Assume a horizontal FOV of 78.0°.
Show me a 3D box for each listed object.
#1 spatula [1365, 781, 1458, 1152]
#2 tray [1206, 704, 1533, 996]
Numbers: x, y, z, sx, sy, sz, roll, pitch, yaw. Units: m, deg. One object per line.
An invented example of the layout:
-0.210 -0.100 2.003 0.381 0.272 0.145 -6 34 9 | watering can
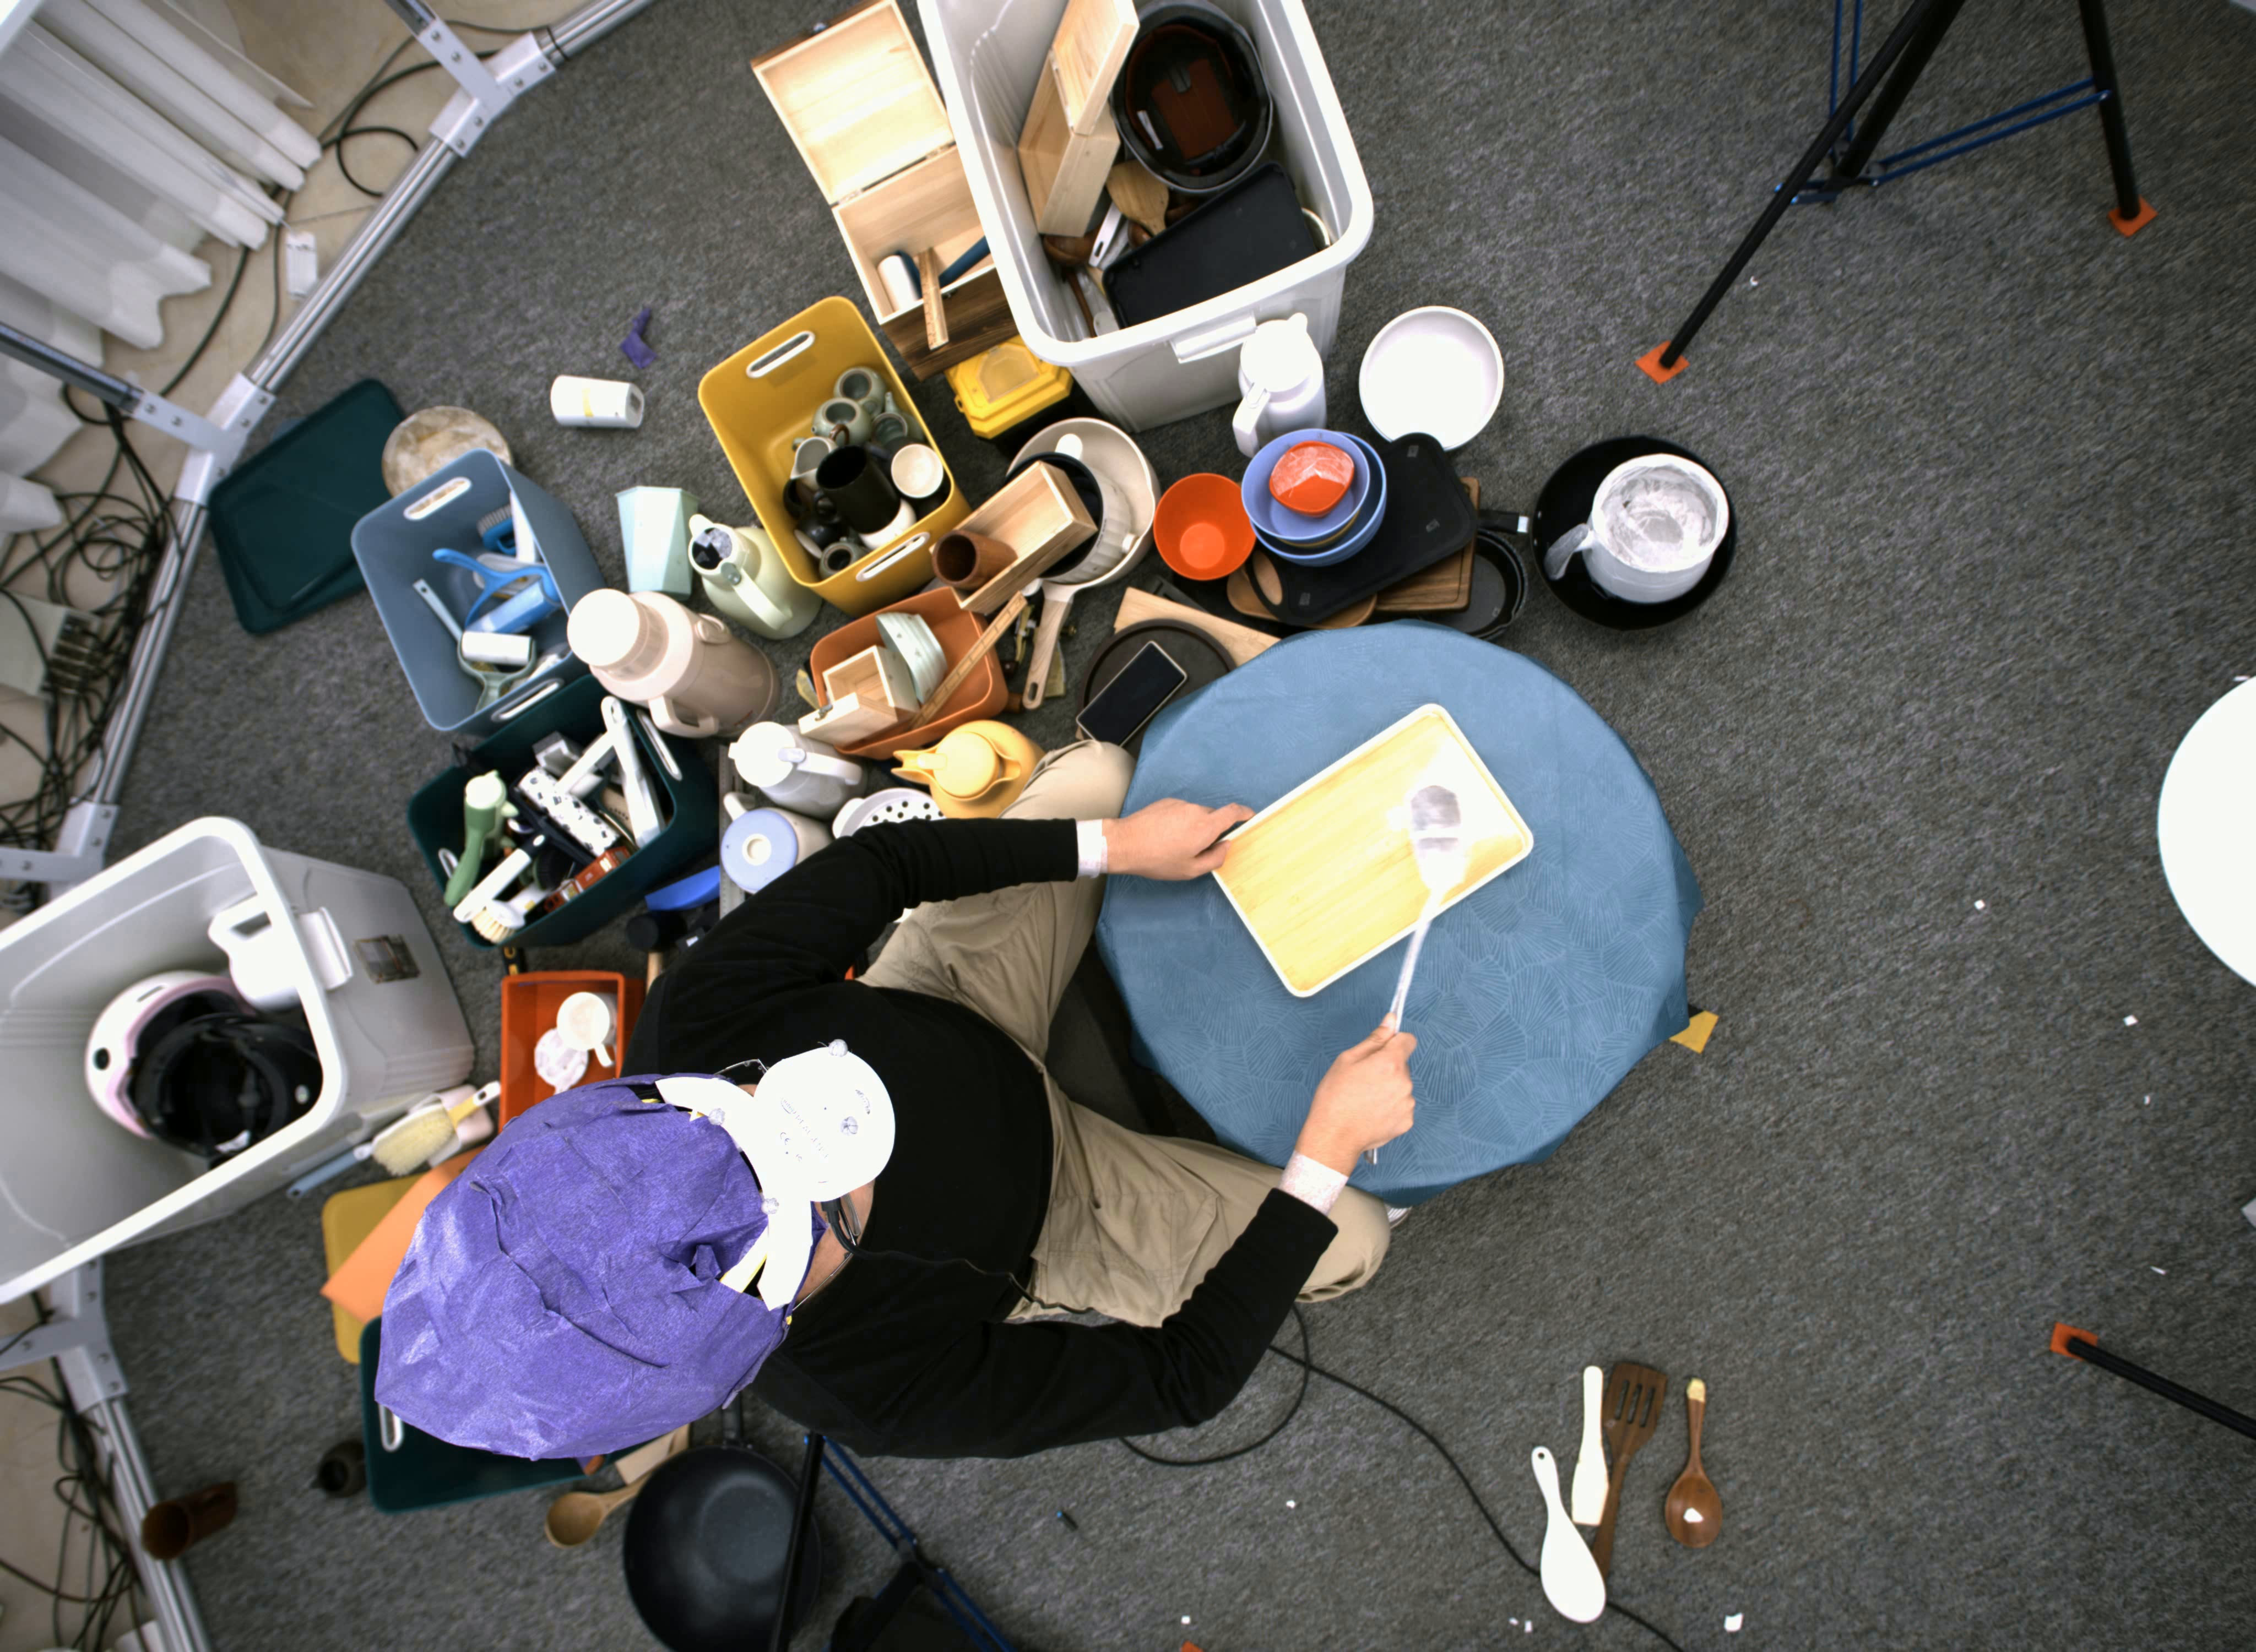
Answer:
0.265 0.136 1.345 0.045 0.099 0.363 16 86 -20 | spatula
0.251 0.024 1.452 0.302 0.027 0.190 -33 82 7 | tray
